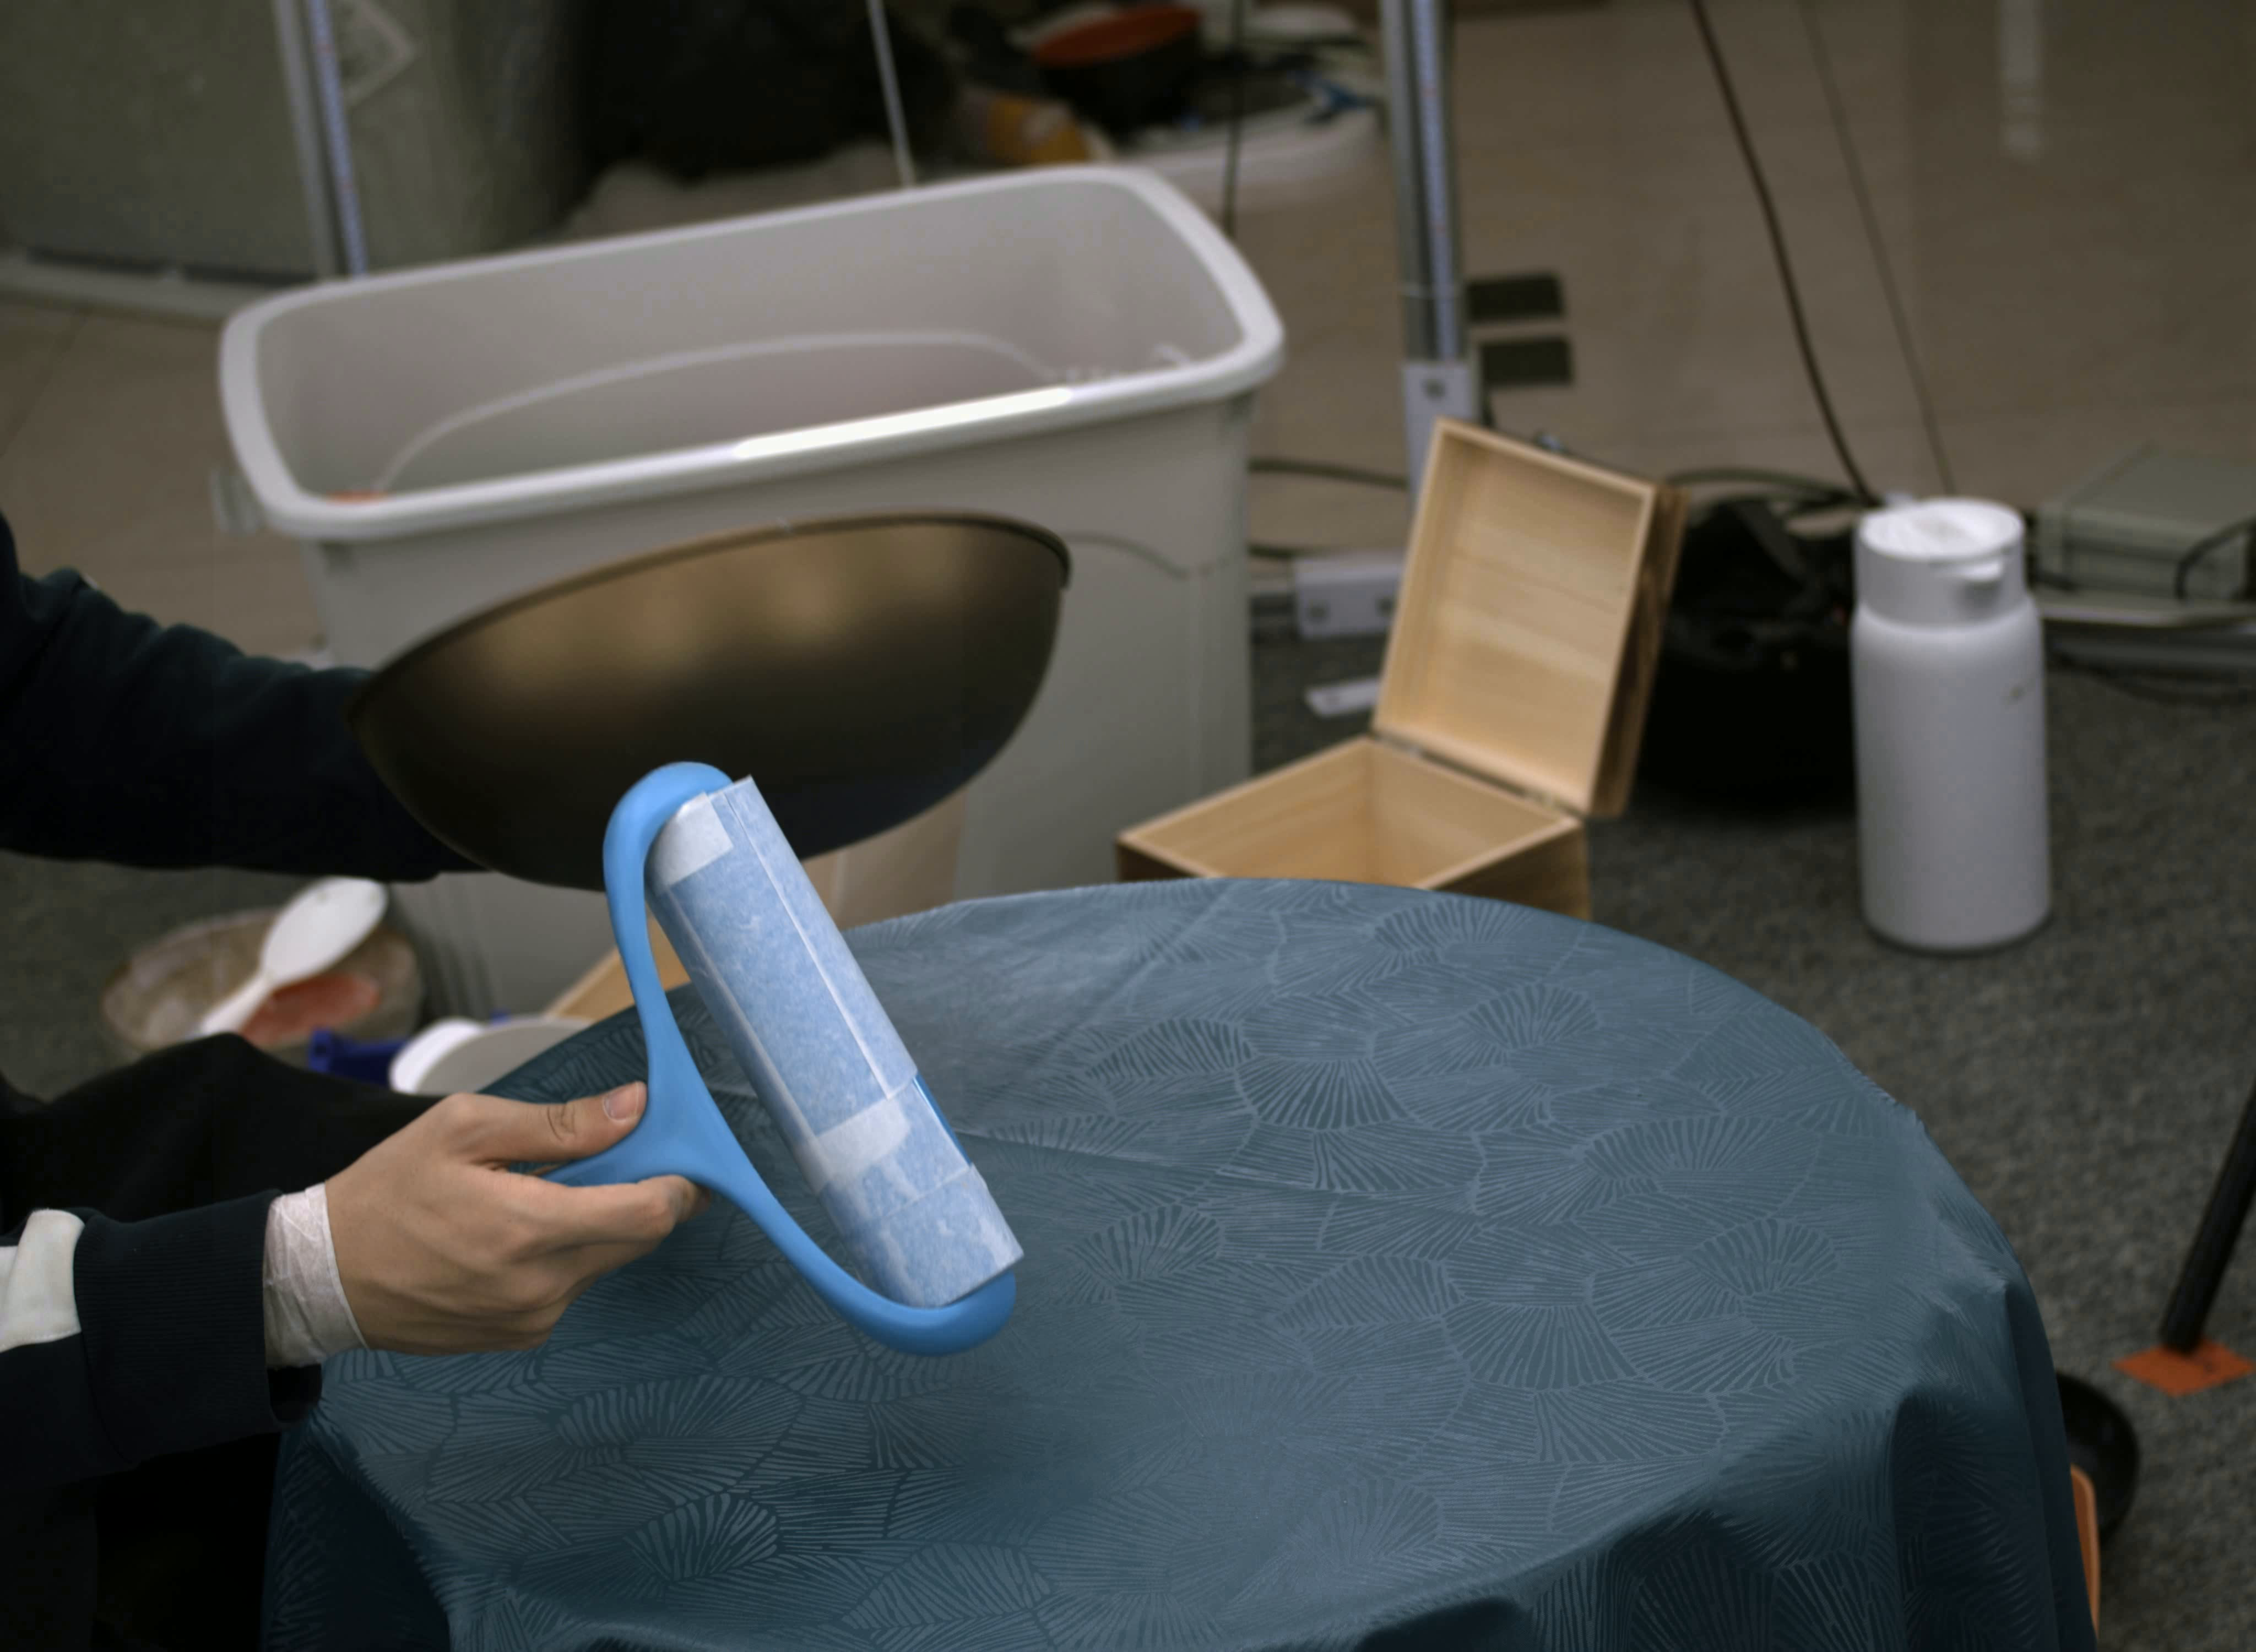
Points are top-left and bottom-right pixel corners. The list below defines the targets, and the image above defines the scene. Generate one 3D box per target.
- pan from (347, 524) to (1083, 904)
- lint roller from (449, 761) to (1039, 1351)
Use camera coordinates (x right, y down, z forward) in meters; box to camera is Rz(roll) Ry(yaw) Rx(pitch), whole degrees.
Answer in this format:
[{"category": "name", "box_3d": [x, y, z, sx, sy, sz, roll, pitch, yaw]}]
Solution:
[{"category": "pan", "box_3d": [-0.166, -0.009, 2.232, 0.287, 0.086, 0.467, -11, -11, -15]}, {"category": "lint roller", "box_3d": [-0.152, 0.110, 1.954, 0.179, 0.229, 0.068, -33, 2, -11]}]
